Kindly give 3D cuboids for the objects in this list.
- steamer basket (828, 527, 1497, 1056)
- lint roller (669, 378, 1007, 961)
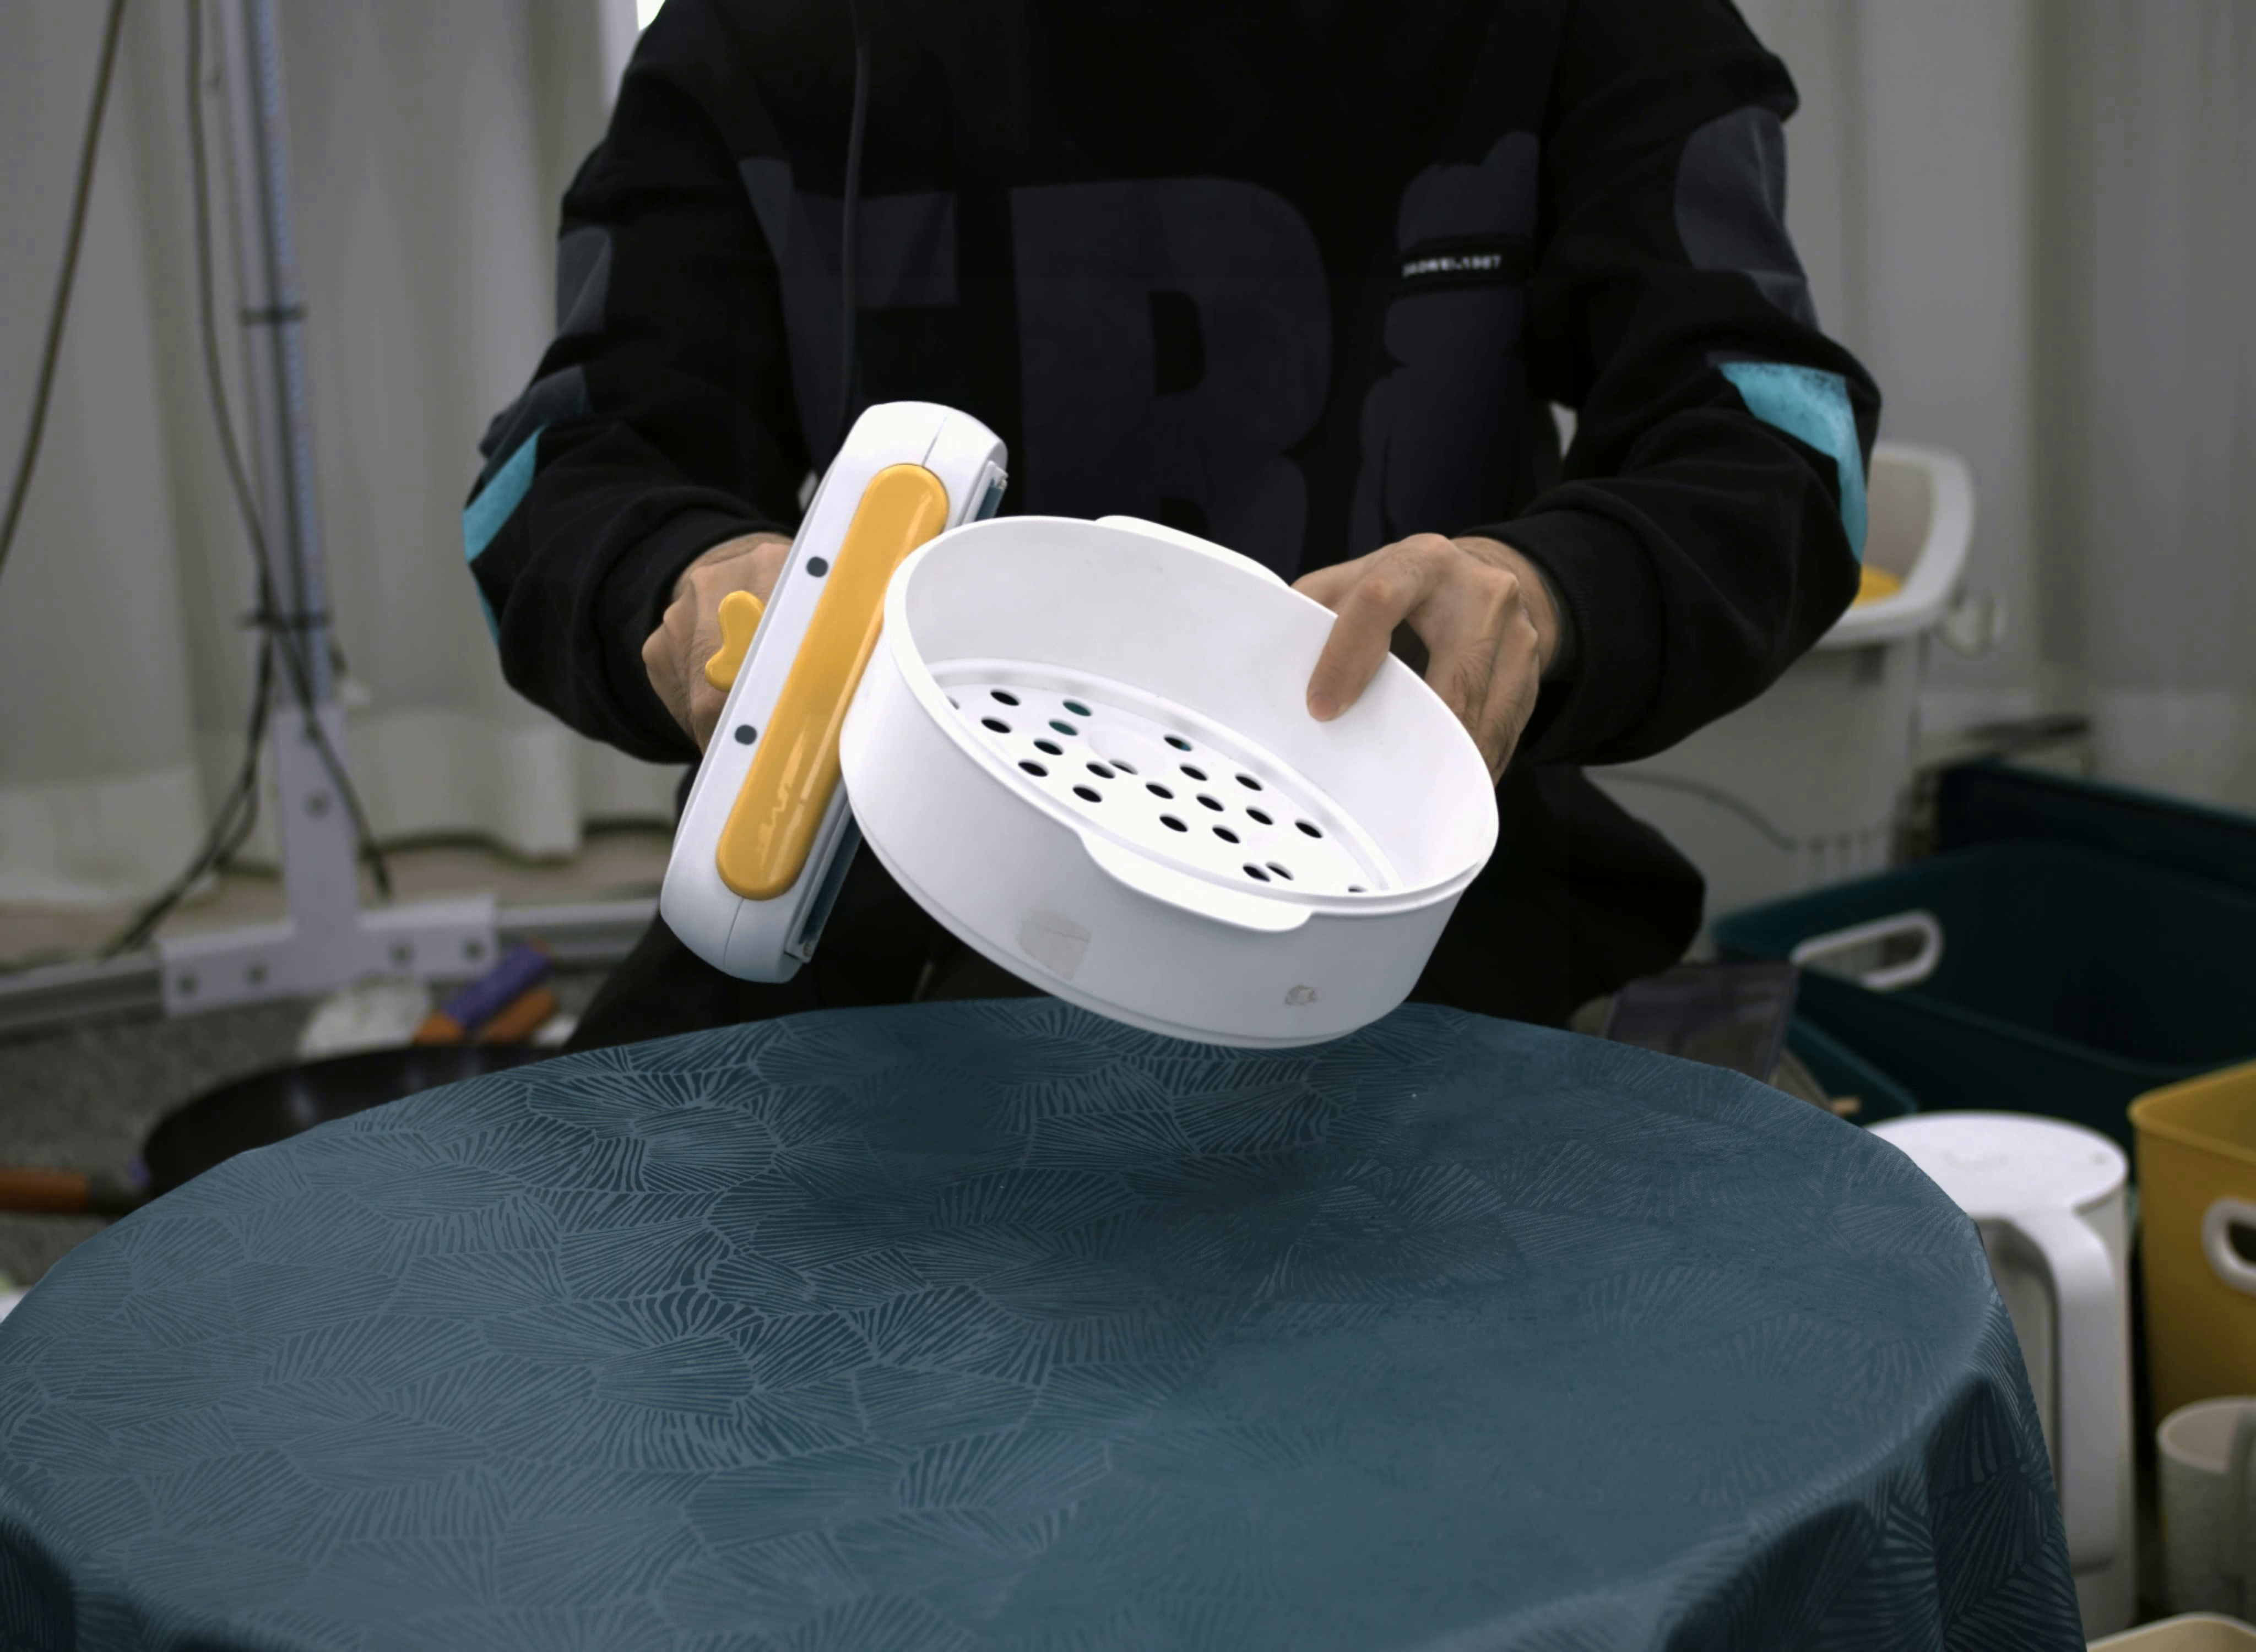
[{"bbox_3d":[0.009,-0.009,1.663,0.201,0.069,0.233,20,26,-10],"label":"steamer basket"},{"bbox_3d":[-0.102,-0.047,1.798,0.074,0.194,0.192,18,-8,-3],"label":"lint roller"}]
